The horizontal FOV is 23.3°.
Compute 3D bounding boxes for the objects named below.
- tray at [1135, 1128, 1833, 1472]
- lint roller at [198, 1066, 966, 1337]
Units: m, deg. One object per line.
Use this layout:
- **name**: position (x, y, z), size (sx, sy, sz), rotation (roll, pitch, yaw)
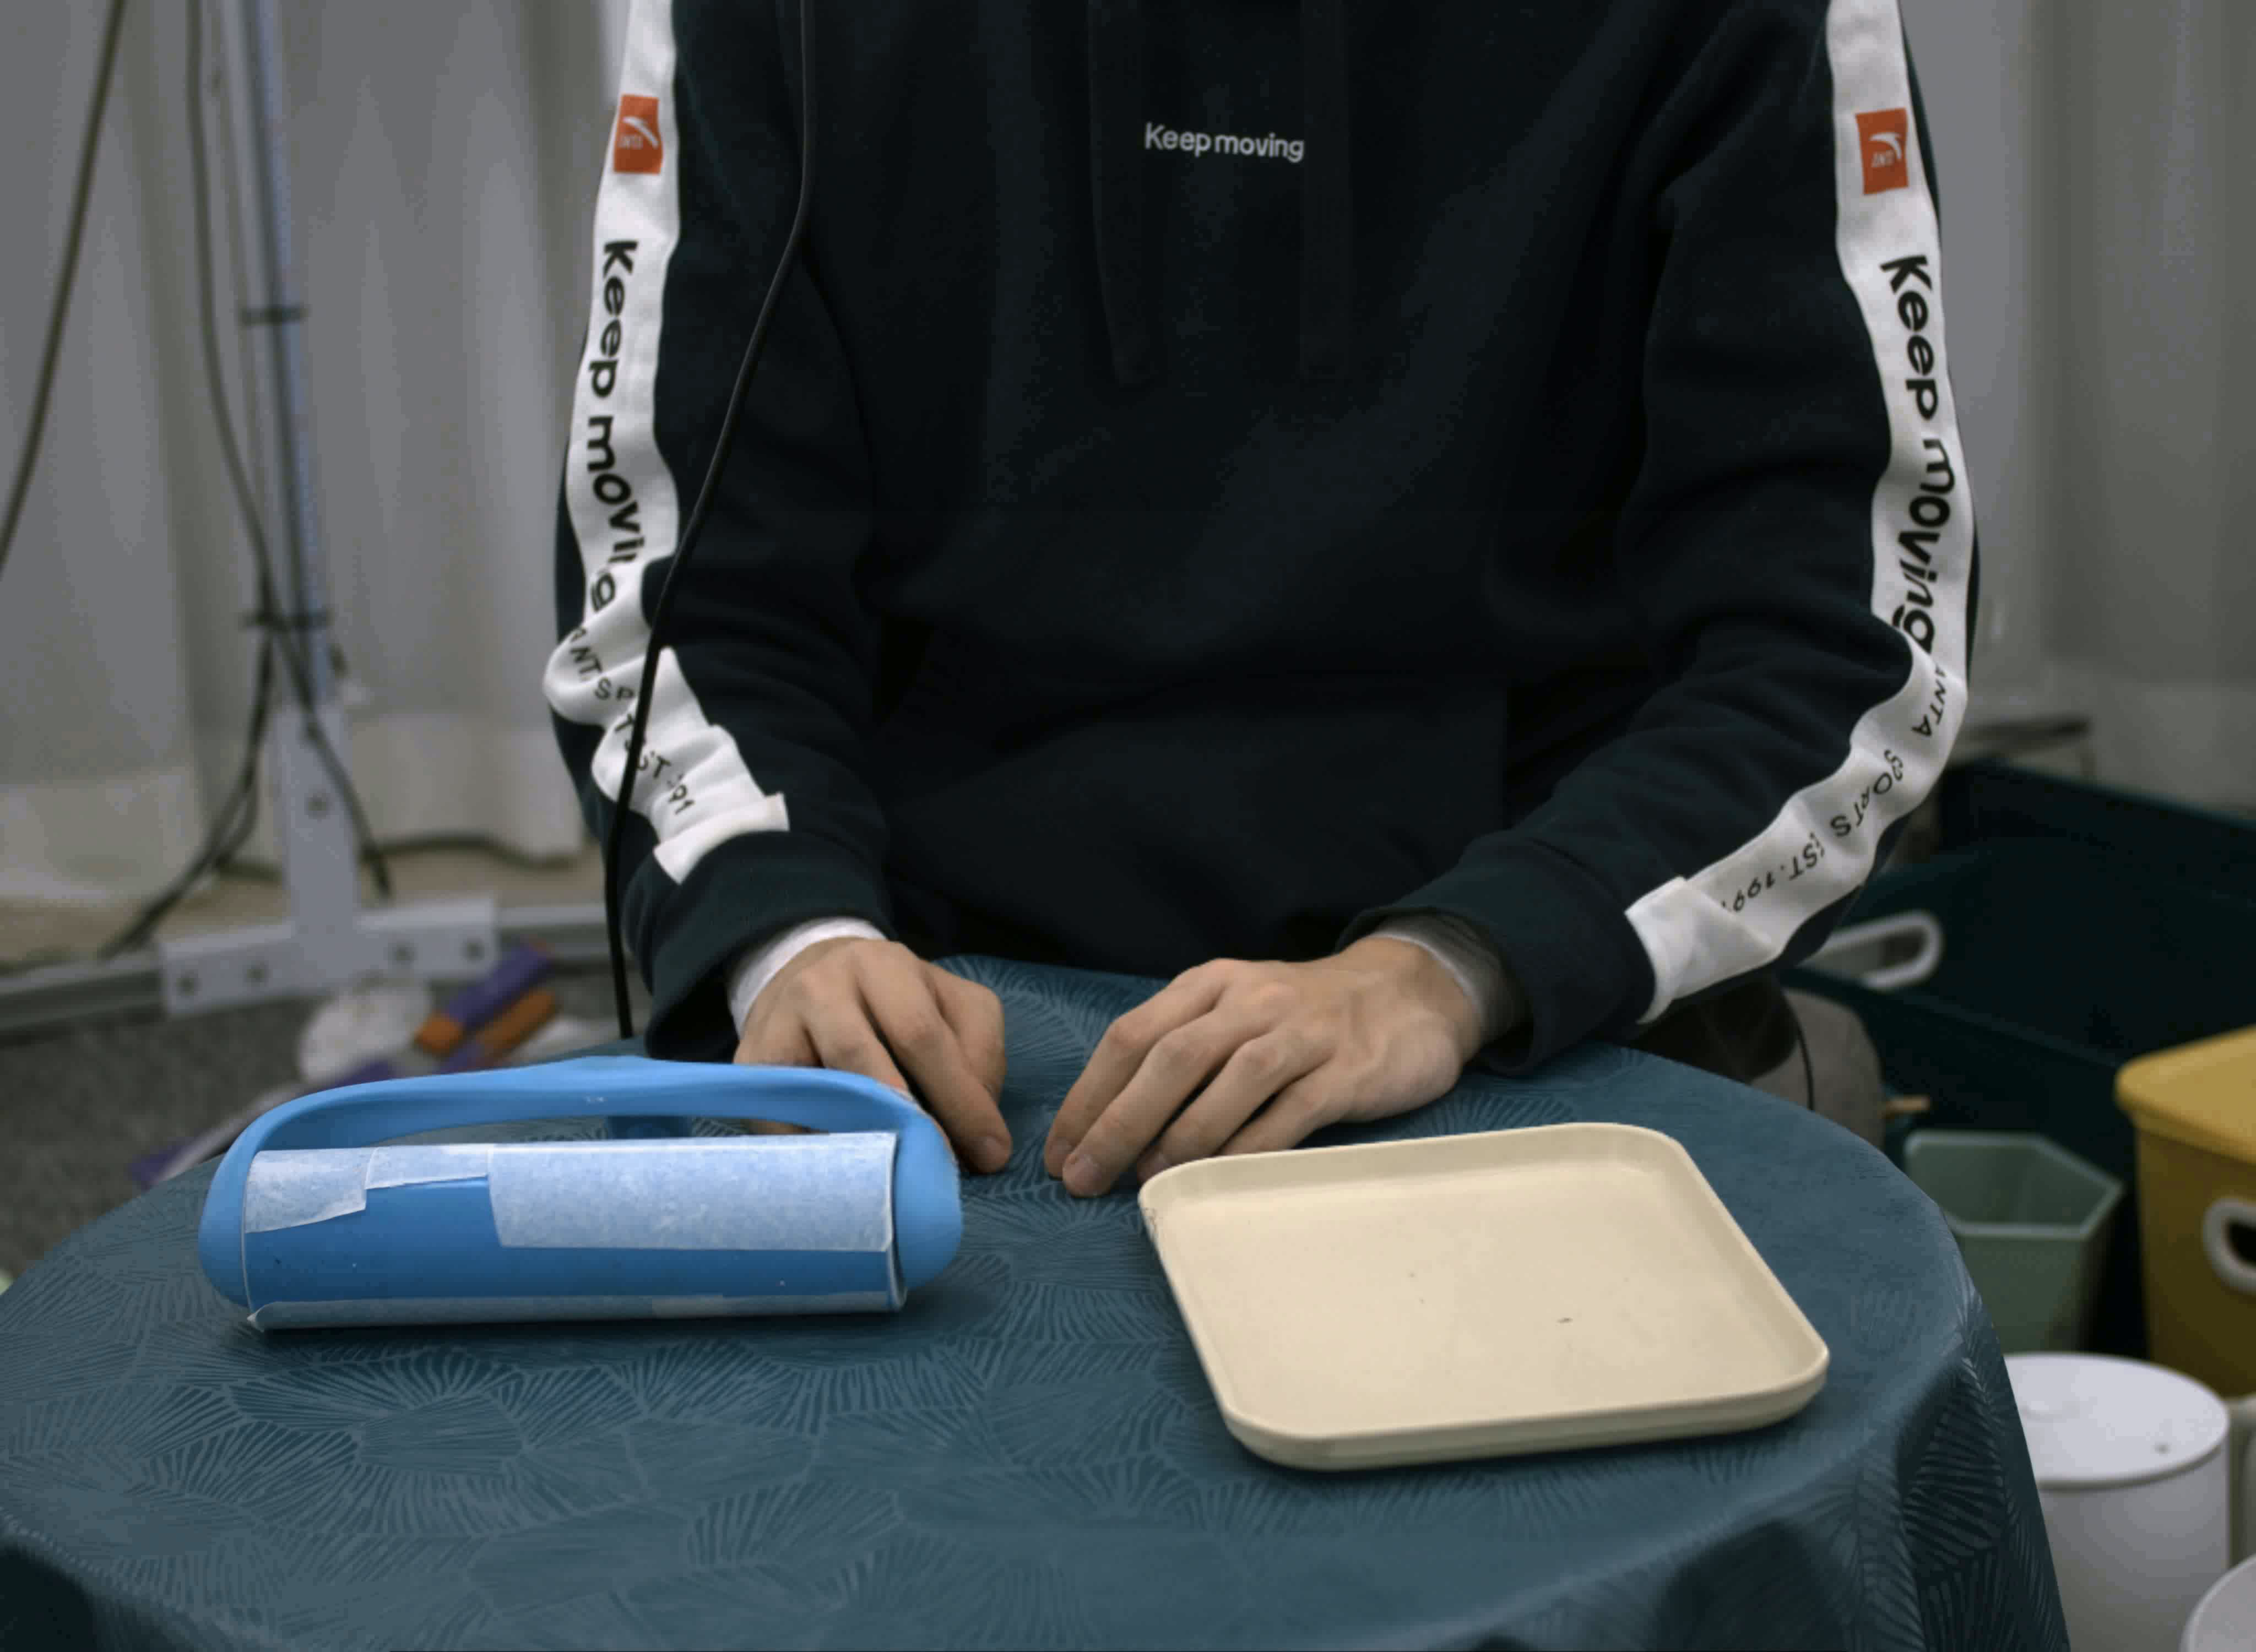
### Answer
- **tray**: position (0.098, 0.136, 1.581), size (0.170, 0.017, 0.241), rotation (-4, 15, -6)
- **lint roller**: position (-0.161, 0.104, 1.678), size (0.228, 0.067, 0.181), rotation (-4, 16, 2)
